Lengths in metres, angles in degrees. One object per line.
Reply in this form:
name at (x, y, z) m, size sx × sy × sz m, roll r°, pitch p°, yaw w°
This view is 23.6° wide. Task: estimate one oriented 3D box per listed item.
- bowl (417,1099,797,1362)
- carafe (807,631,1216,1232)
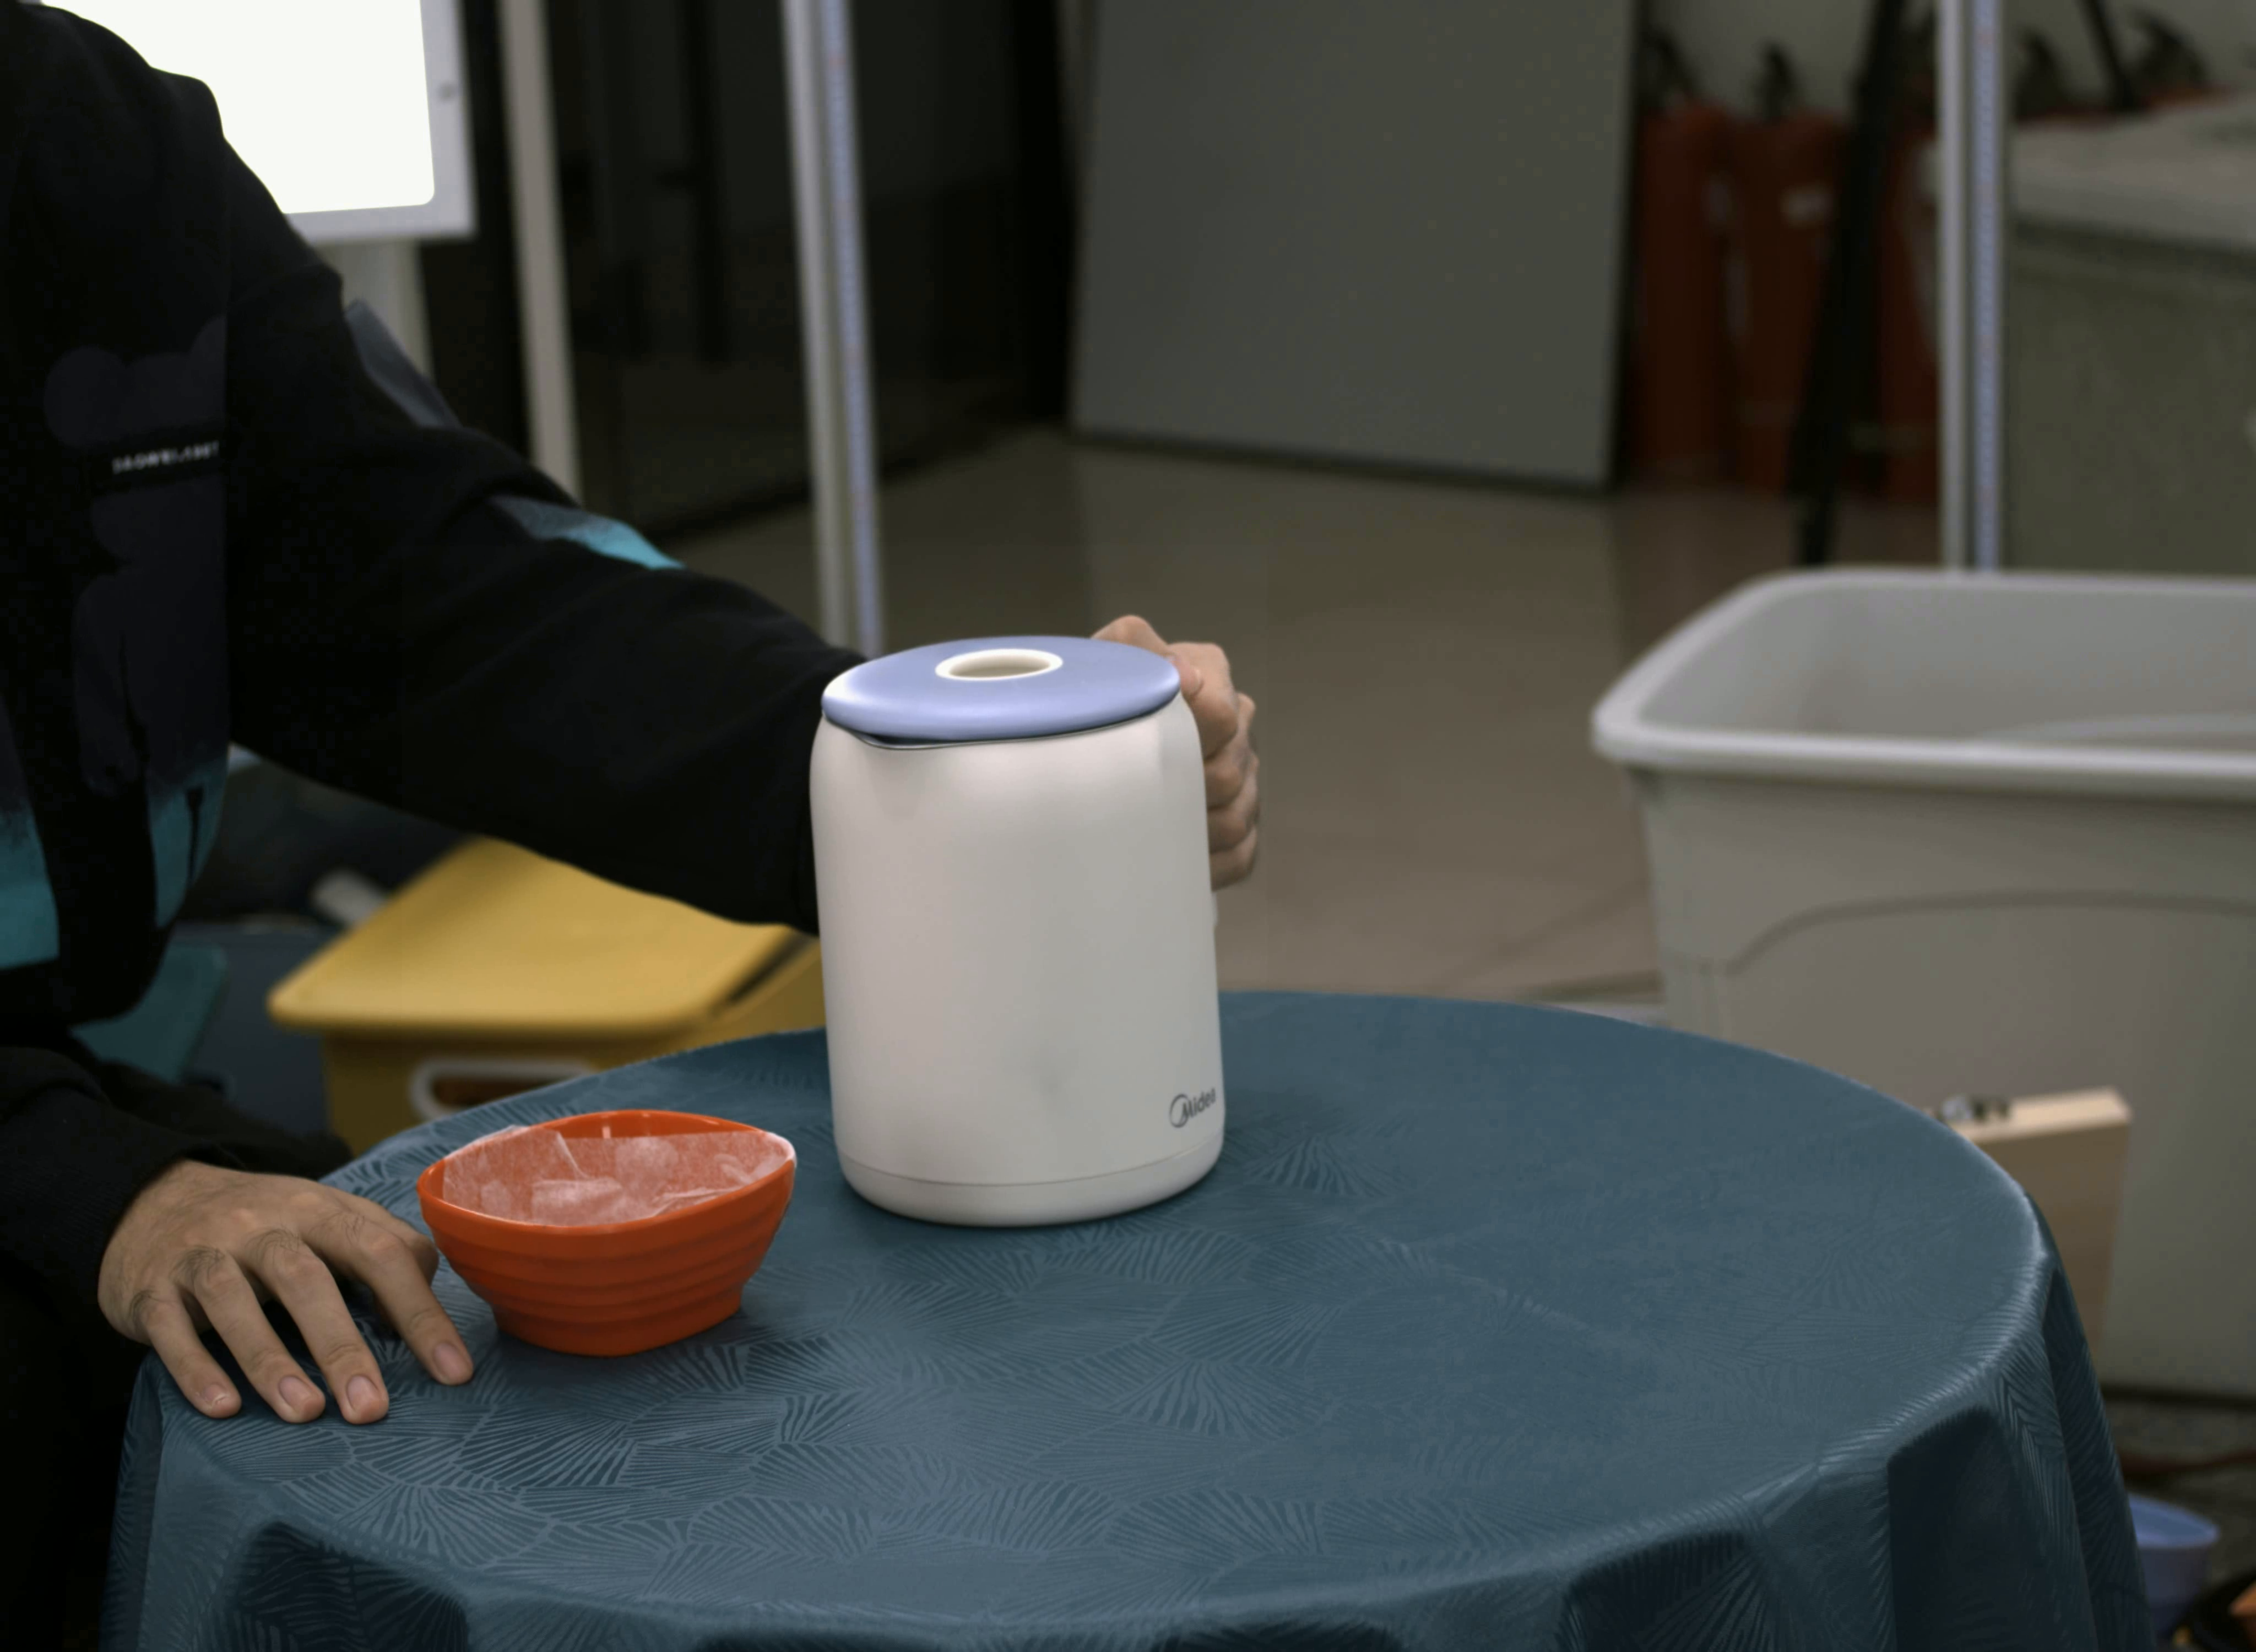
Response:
bowl at (-0.160, 0.128, 1.678) m, size 0.117 × 0.052 × 0.119 m, roll -4°, pitch 17°, yaw 0°
carafe at (-0.026, 0.028, 1.798) m, size 0.133 × 0.184 × 0.188 m, roll 5°, pitch 14°, yaw 29°
